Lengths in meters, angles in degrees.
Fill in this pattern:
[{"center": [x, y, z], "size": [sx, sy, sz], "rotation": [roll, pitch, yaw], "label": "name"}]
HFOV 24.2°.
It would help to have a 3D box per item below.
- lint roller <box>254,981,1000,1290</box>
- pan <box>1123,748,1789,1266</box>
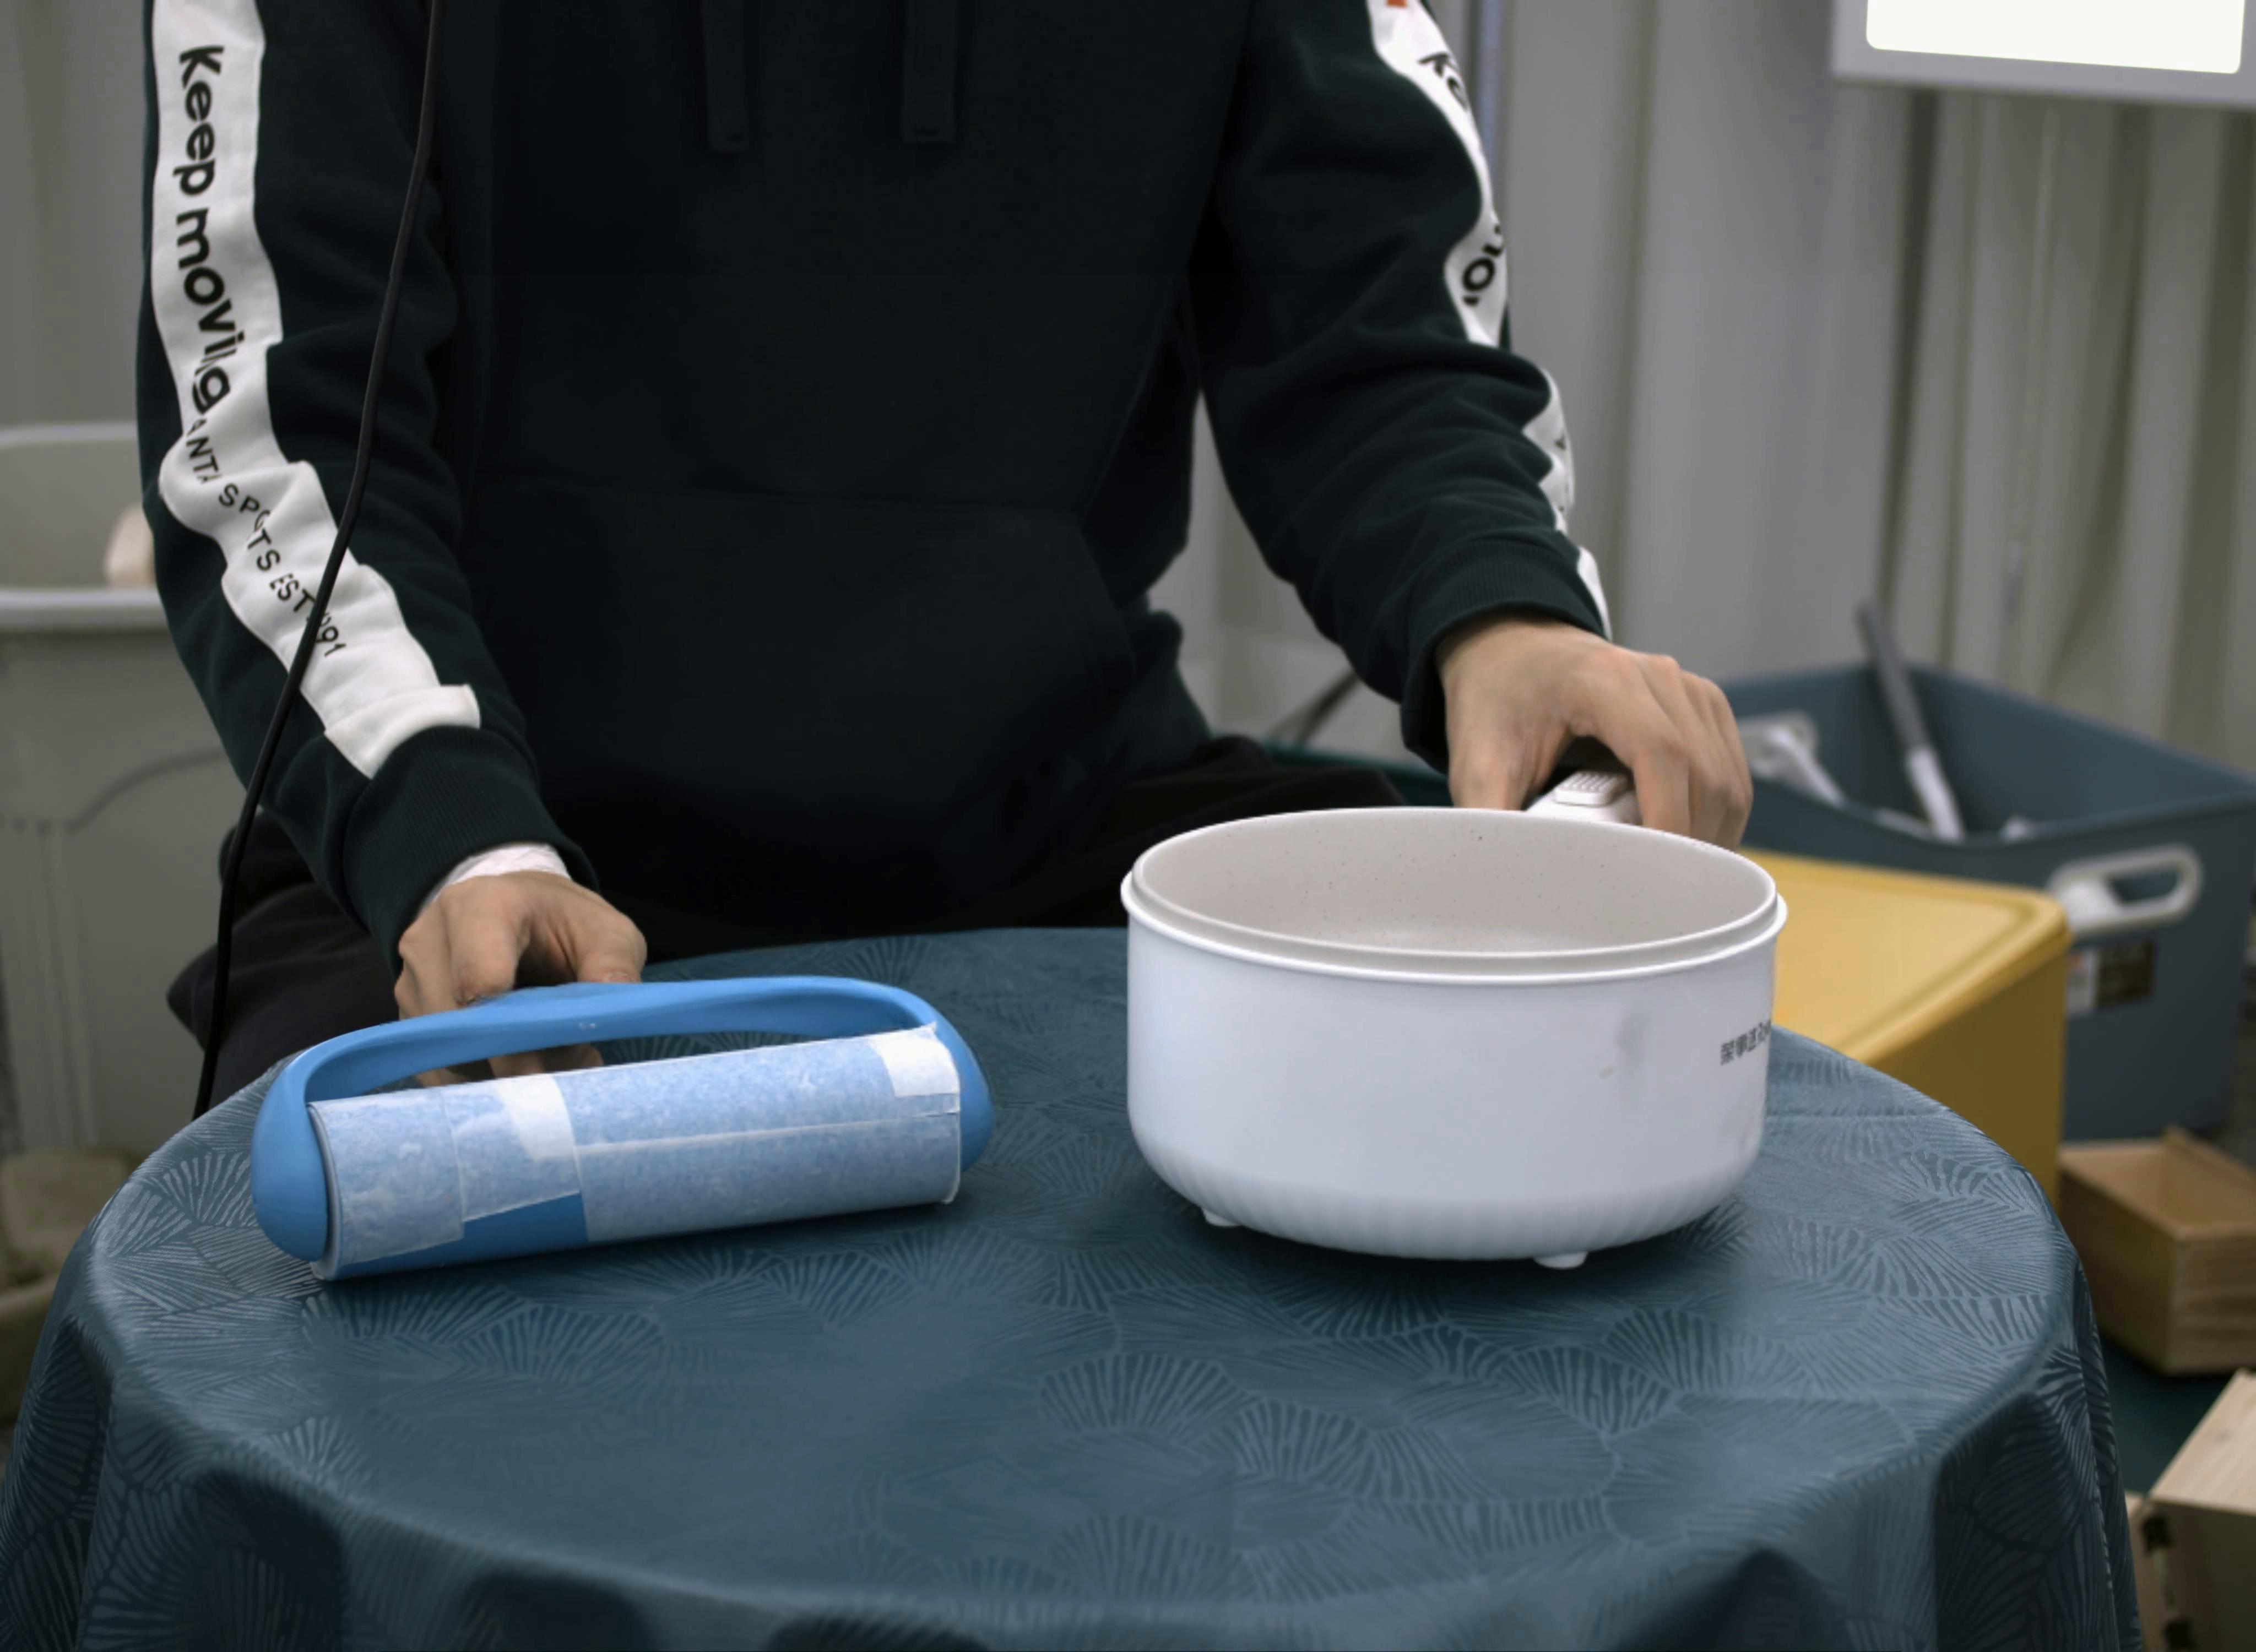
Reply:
[{"center": [-0.171, 0.082, 1.618], "size": [0.229, 0.068, 0.178], "rotation": [-9, 19, -24], "label": "lint roller"}, {"center": [0.124, 0.051, 1.666], "size": [0.199, 0.103, 0.355], "rotation": [5, 12, 19], "label": "pan"}]
